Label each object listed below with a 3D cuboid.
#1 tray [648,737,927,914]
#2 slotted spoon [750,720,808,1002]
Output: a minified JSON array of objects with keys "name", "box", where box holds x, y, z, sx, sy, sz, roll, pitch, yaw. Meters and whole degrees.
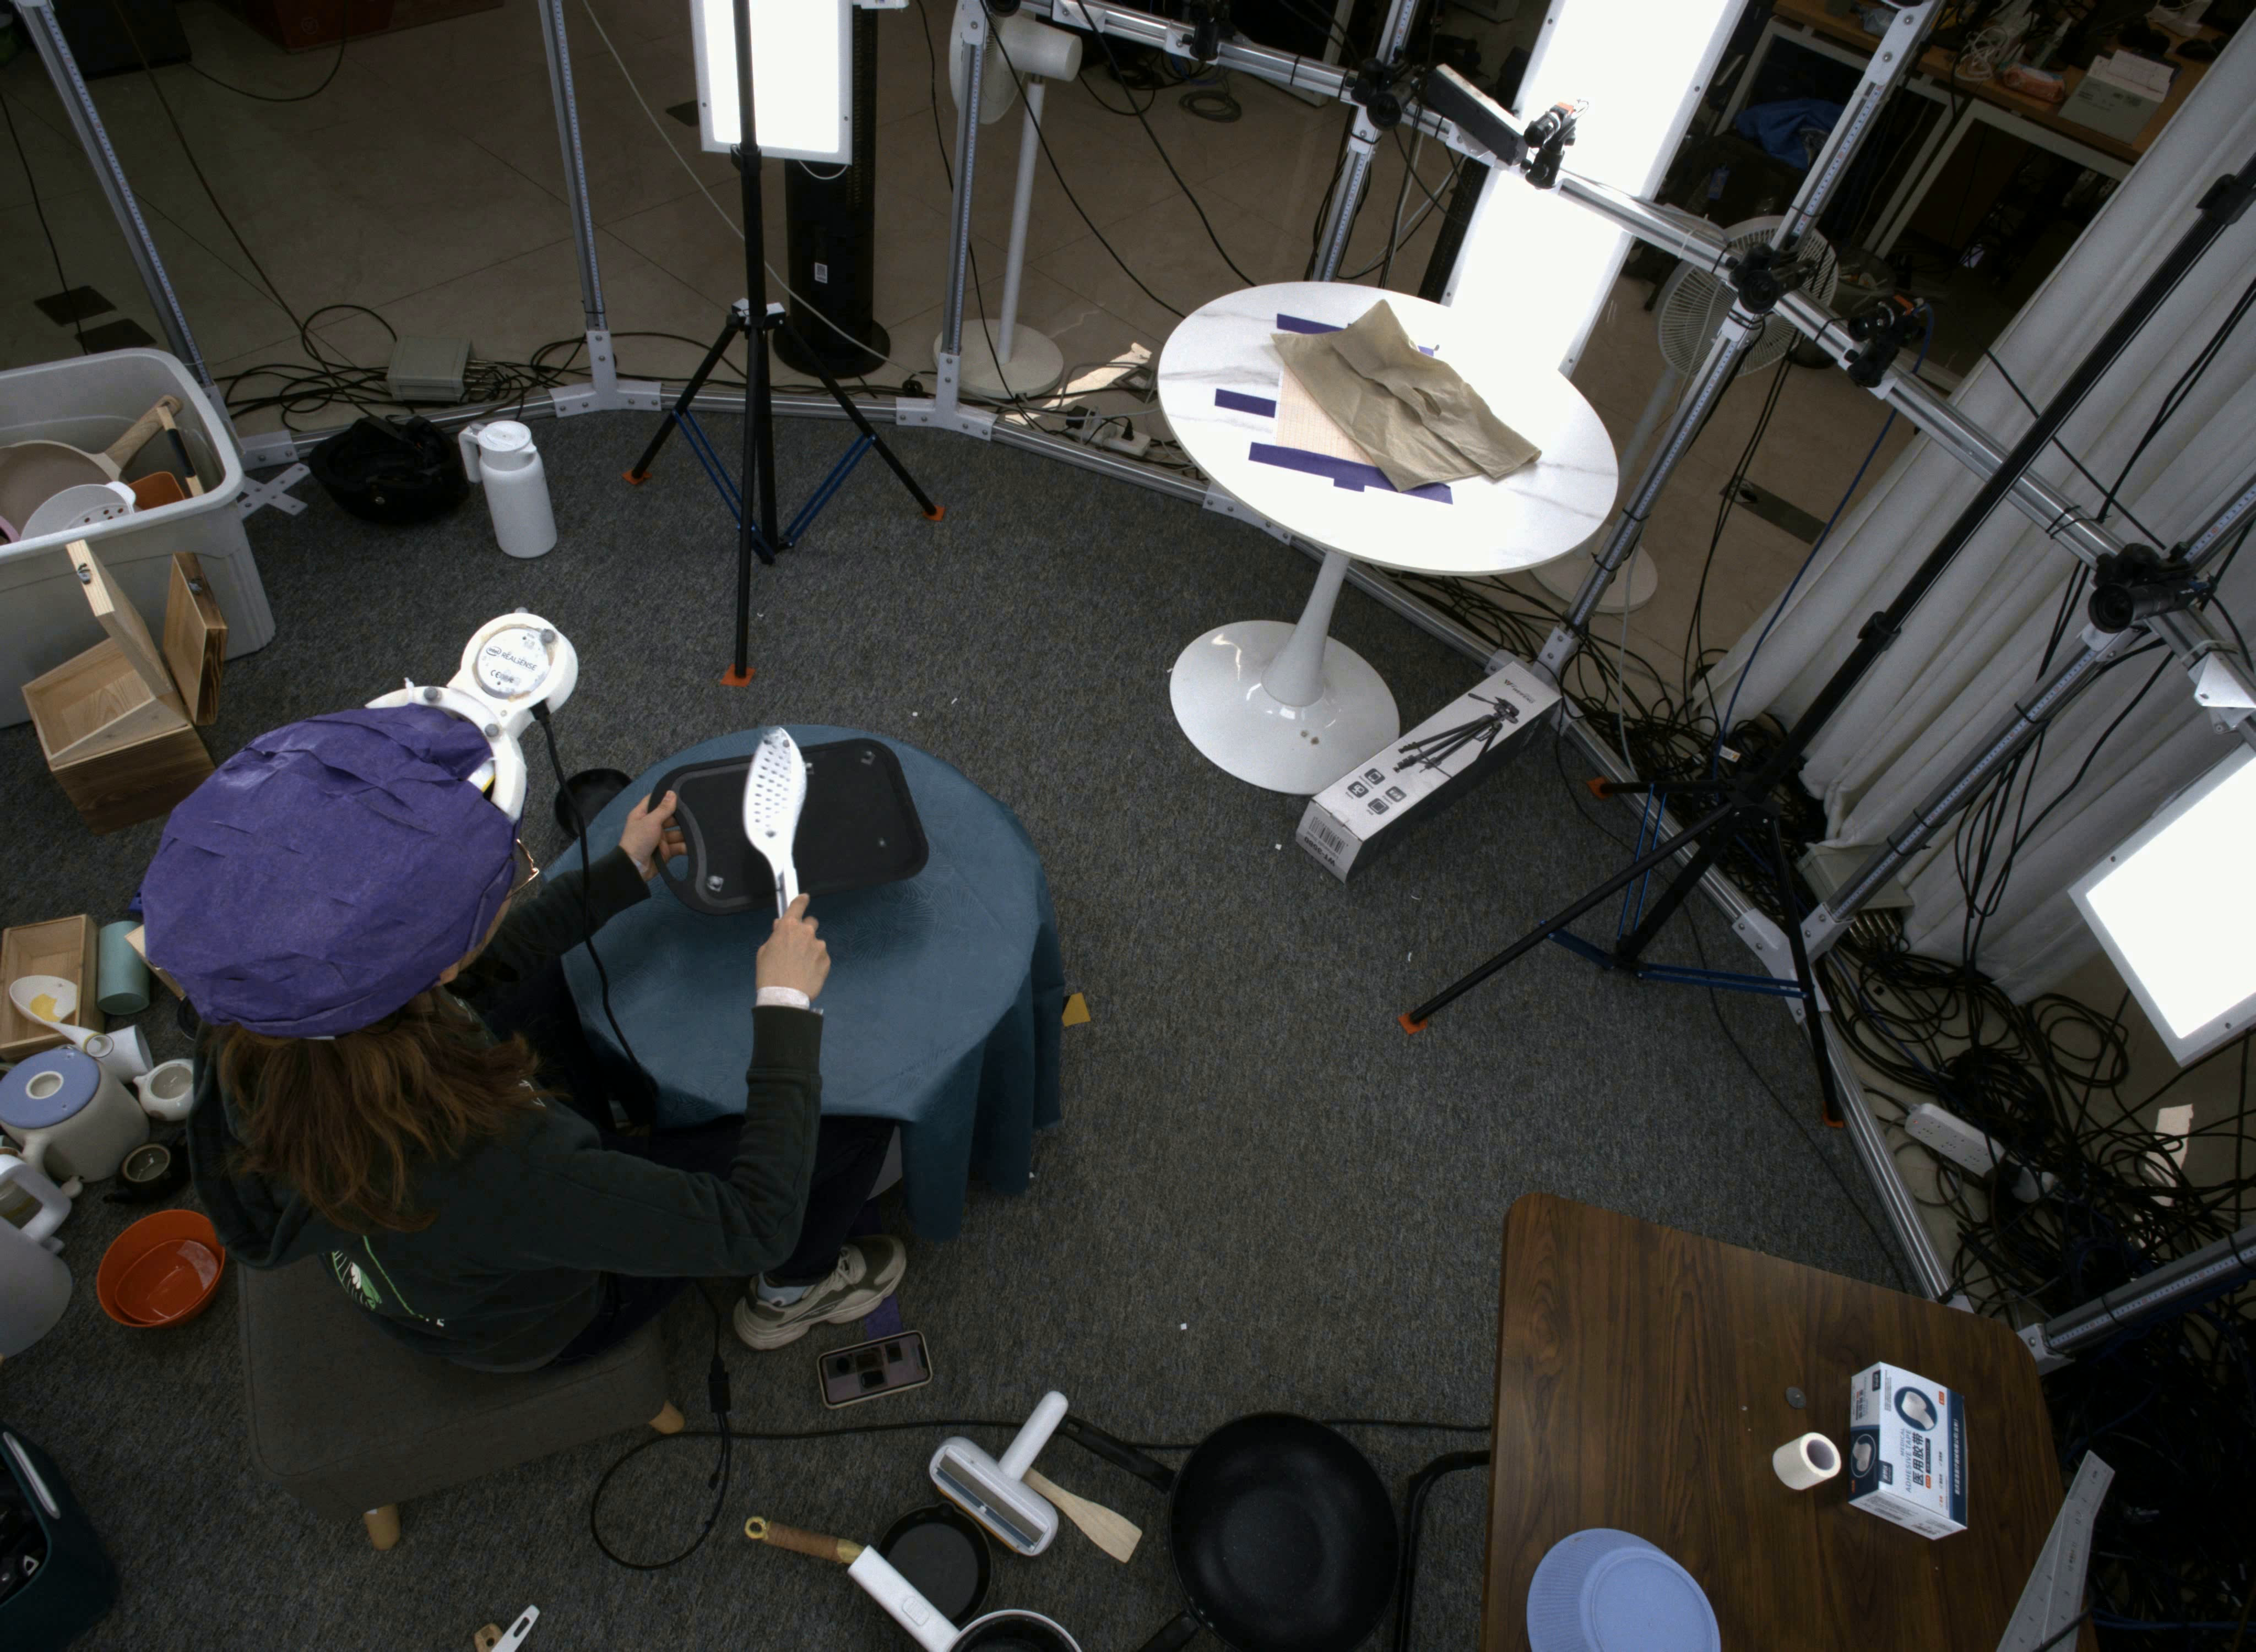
[{"name":"tray","box":[-0.416,-0.006,1.578,0.328,0.010,0.208,-11,67,-27]},{"name":"slotted spoon","box":[-0.376,0.034,1.409,0.046,0.137,0.341,11,47,-28]}]
